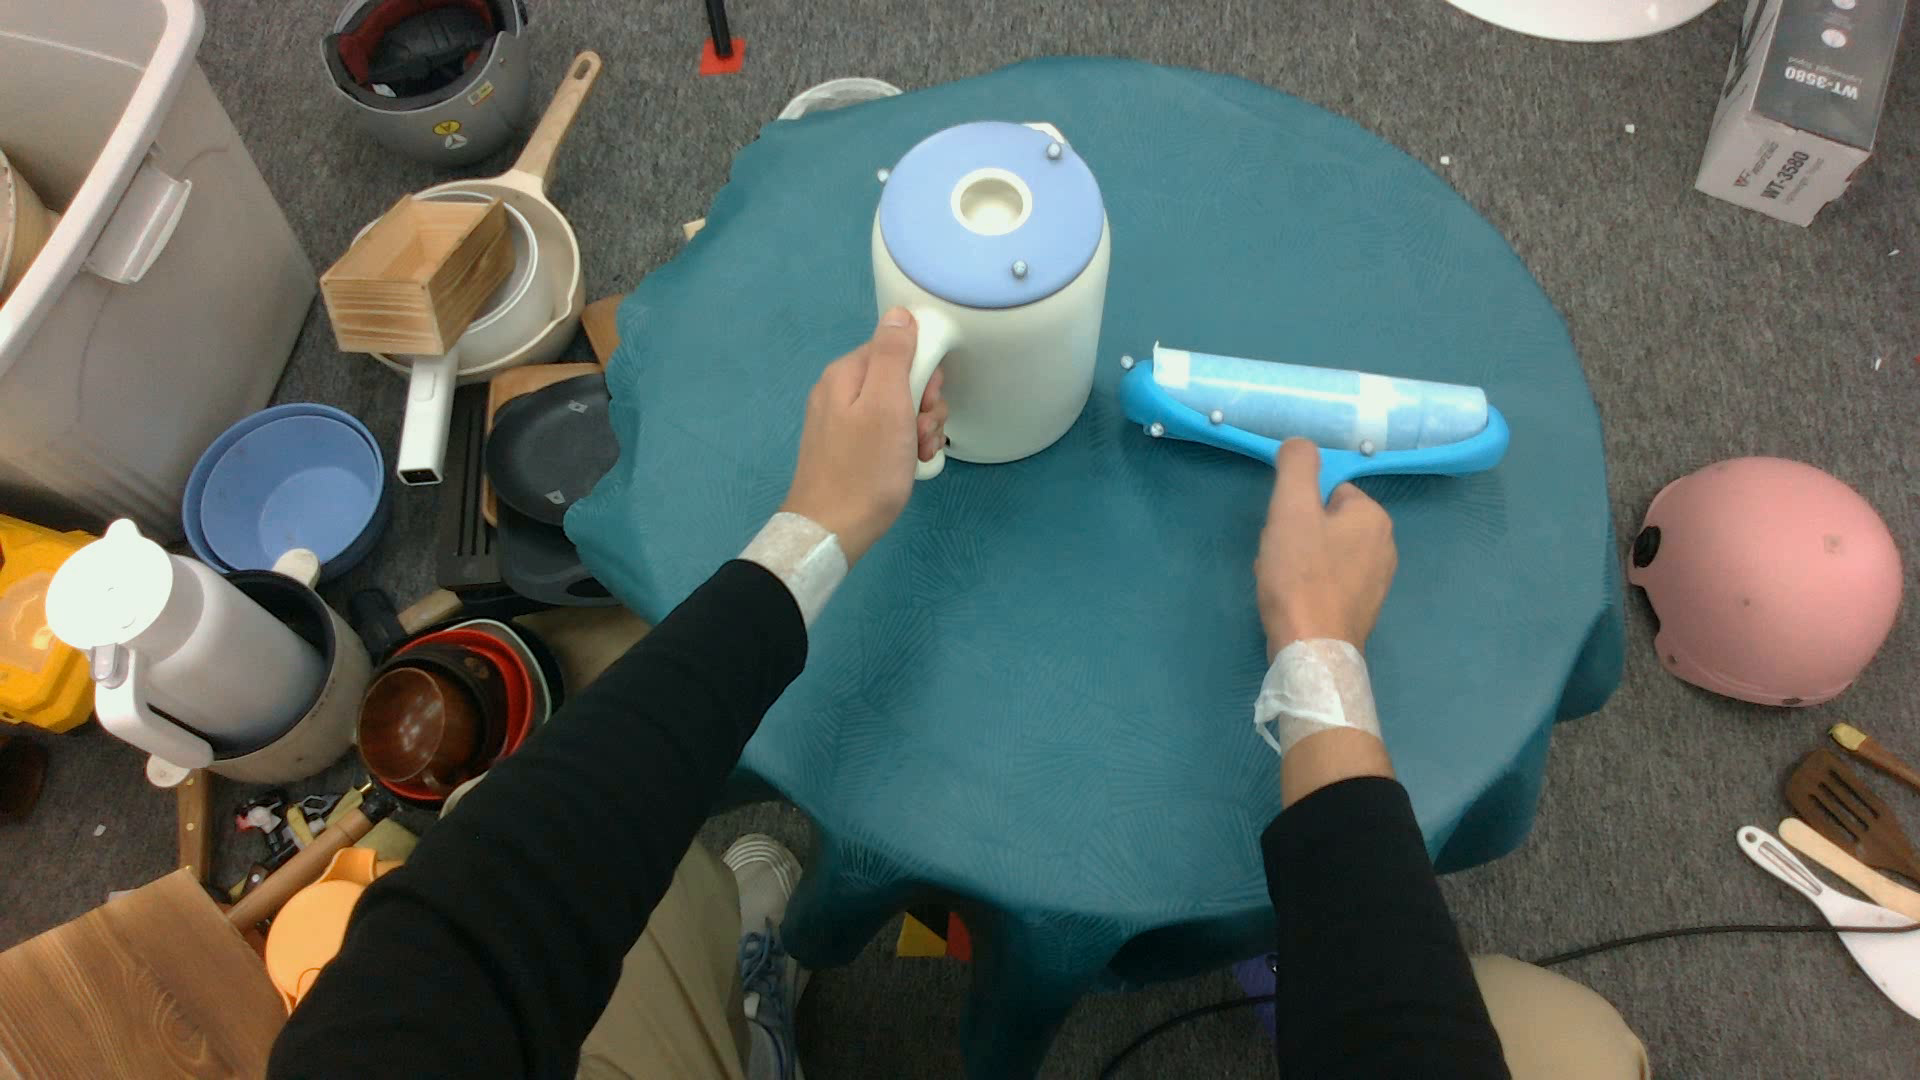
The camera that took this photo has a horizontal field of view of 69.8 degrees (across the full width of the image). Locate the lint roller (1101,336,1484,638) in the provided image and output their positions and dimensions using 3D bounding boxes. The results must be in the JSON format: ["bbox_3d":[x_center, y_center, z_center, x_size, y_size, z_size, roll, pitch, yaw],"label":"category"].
[{"bbox_3d":[0.192,-0.035,0.799,0.229,0.067,0.181,8,56,0],"label":"lint roller"}]

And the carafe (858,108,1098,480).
[{"bbox_3d":[-0.001,-0.125,0.786,0.132,0.182,0.192,24,70,11],"label":"carafe"}]
